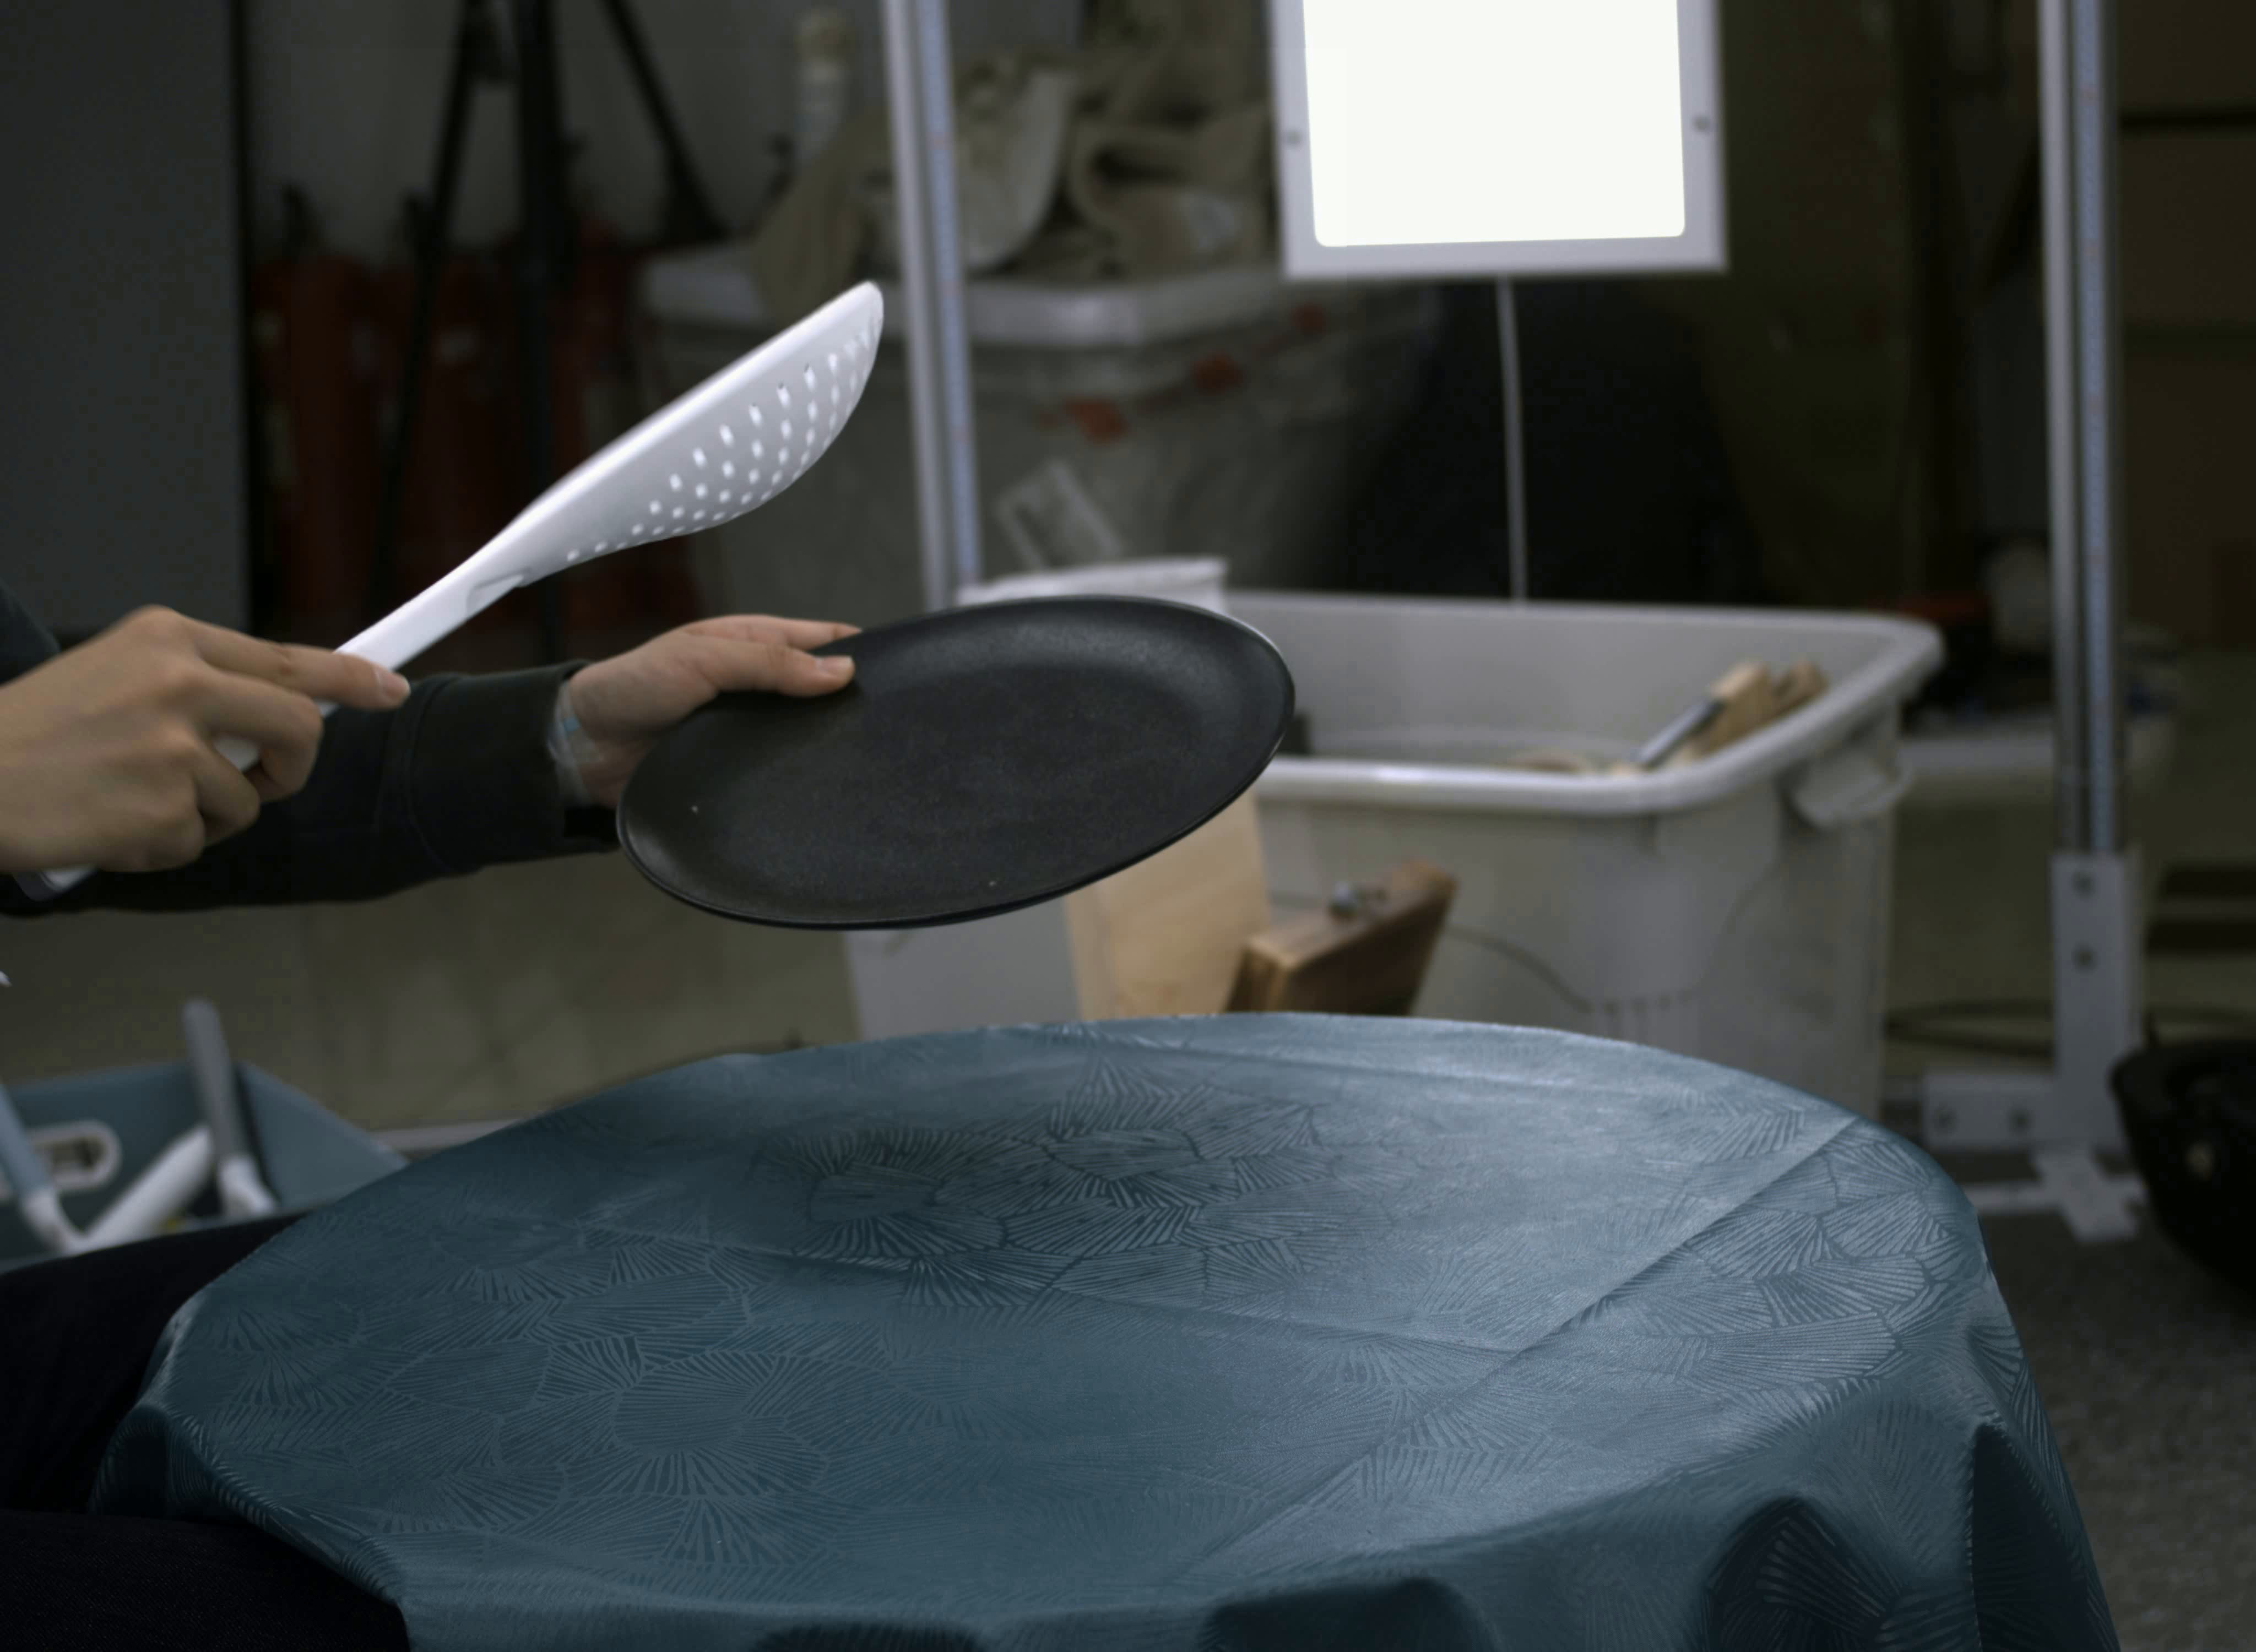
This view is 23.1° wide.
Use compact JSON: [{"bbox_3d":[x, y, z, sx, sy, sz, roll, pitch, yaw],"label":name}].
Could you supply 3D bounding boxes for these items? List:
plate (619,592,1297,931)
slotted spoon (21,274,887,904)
[{"bbox_3d":[-0.058,-0.018,1.930,0.245,0.023,0.244,-11,27,4],"label":"plate"},{"bbox_3d":[-0.203,-0.076,1.714,0.342,0.046,0.139,-33,10,-30],"label":"slotted spoon"}]
